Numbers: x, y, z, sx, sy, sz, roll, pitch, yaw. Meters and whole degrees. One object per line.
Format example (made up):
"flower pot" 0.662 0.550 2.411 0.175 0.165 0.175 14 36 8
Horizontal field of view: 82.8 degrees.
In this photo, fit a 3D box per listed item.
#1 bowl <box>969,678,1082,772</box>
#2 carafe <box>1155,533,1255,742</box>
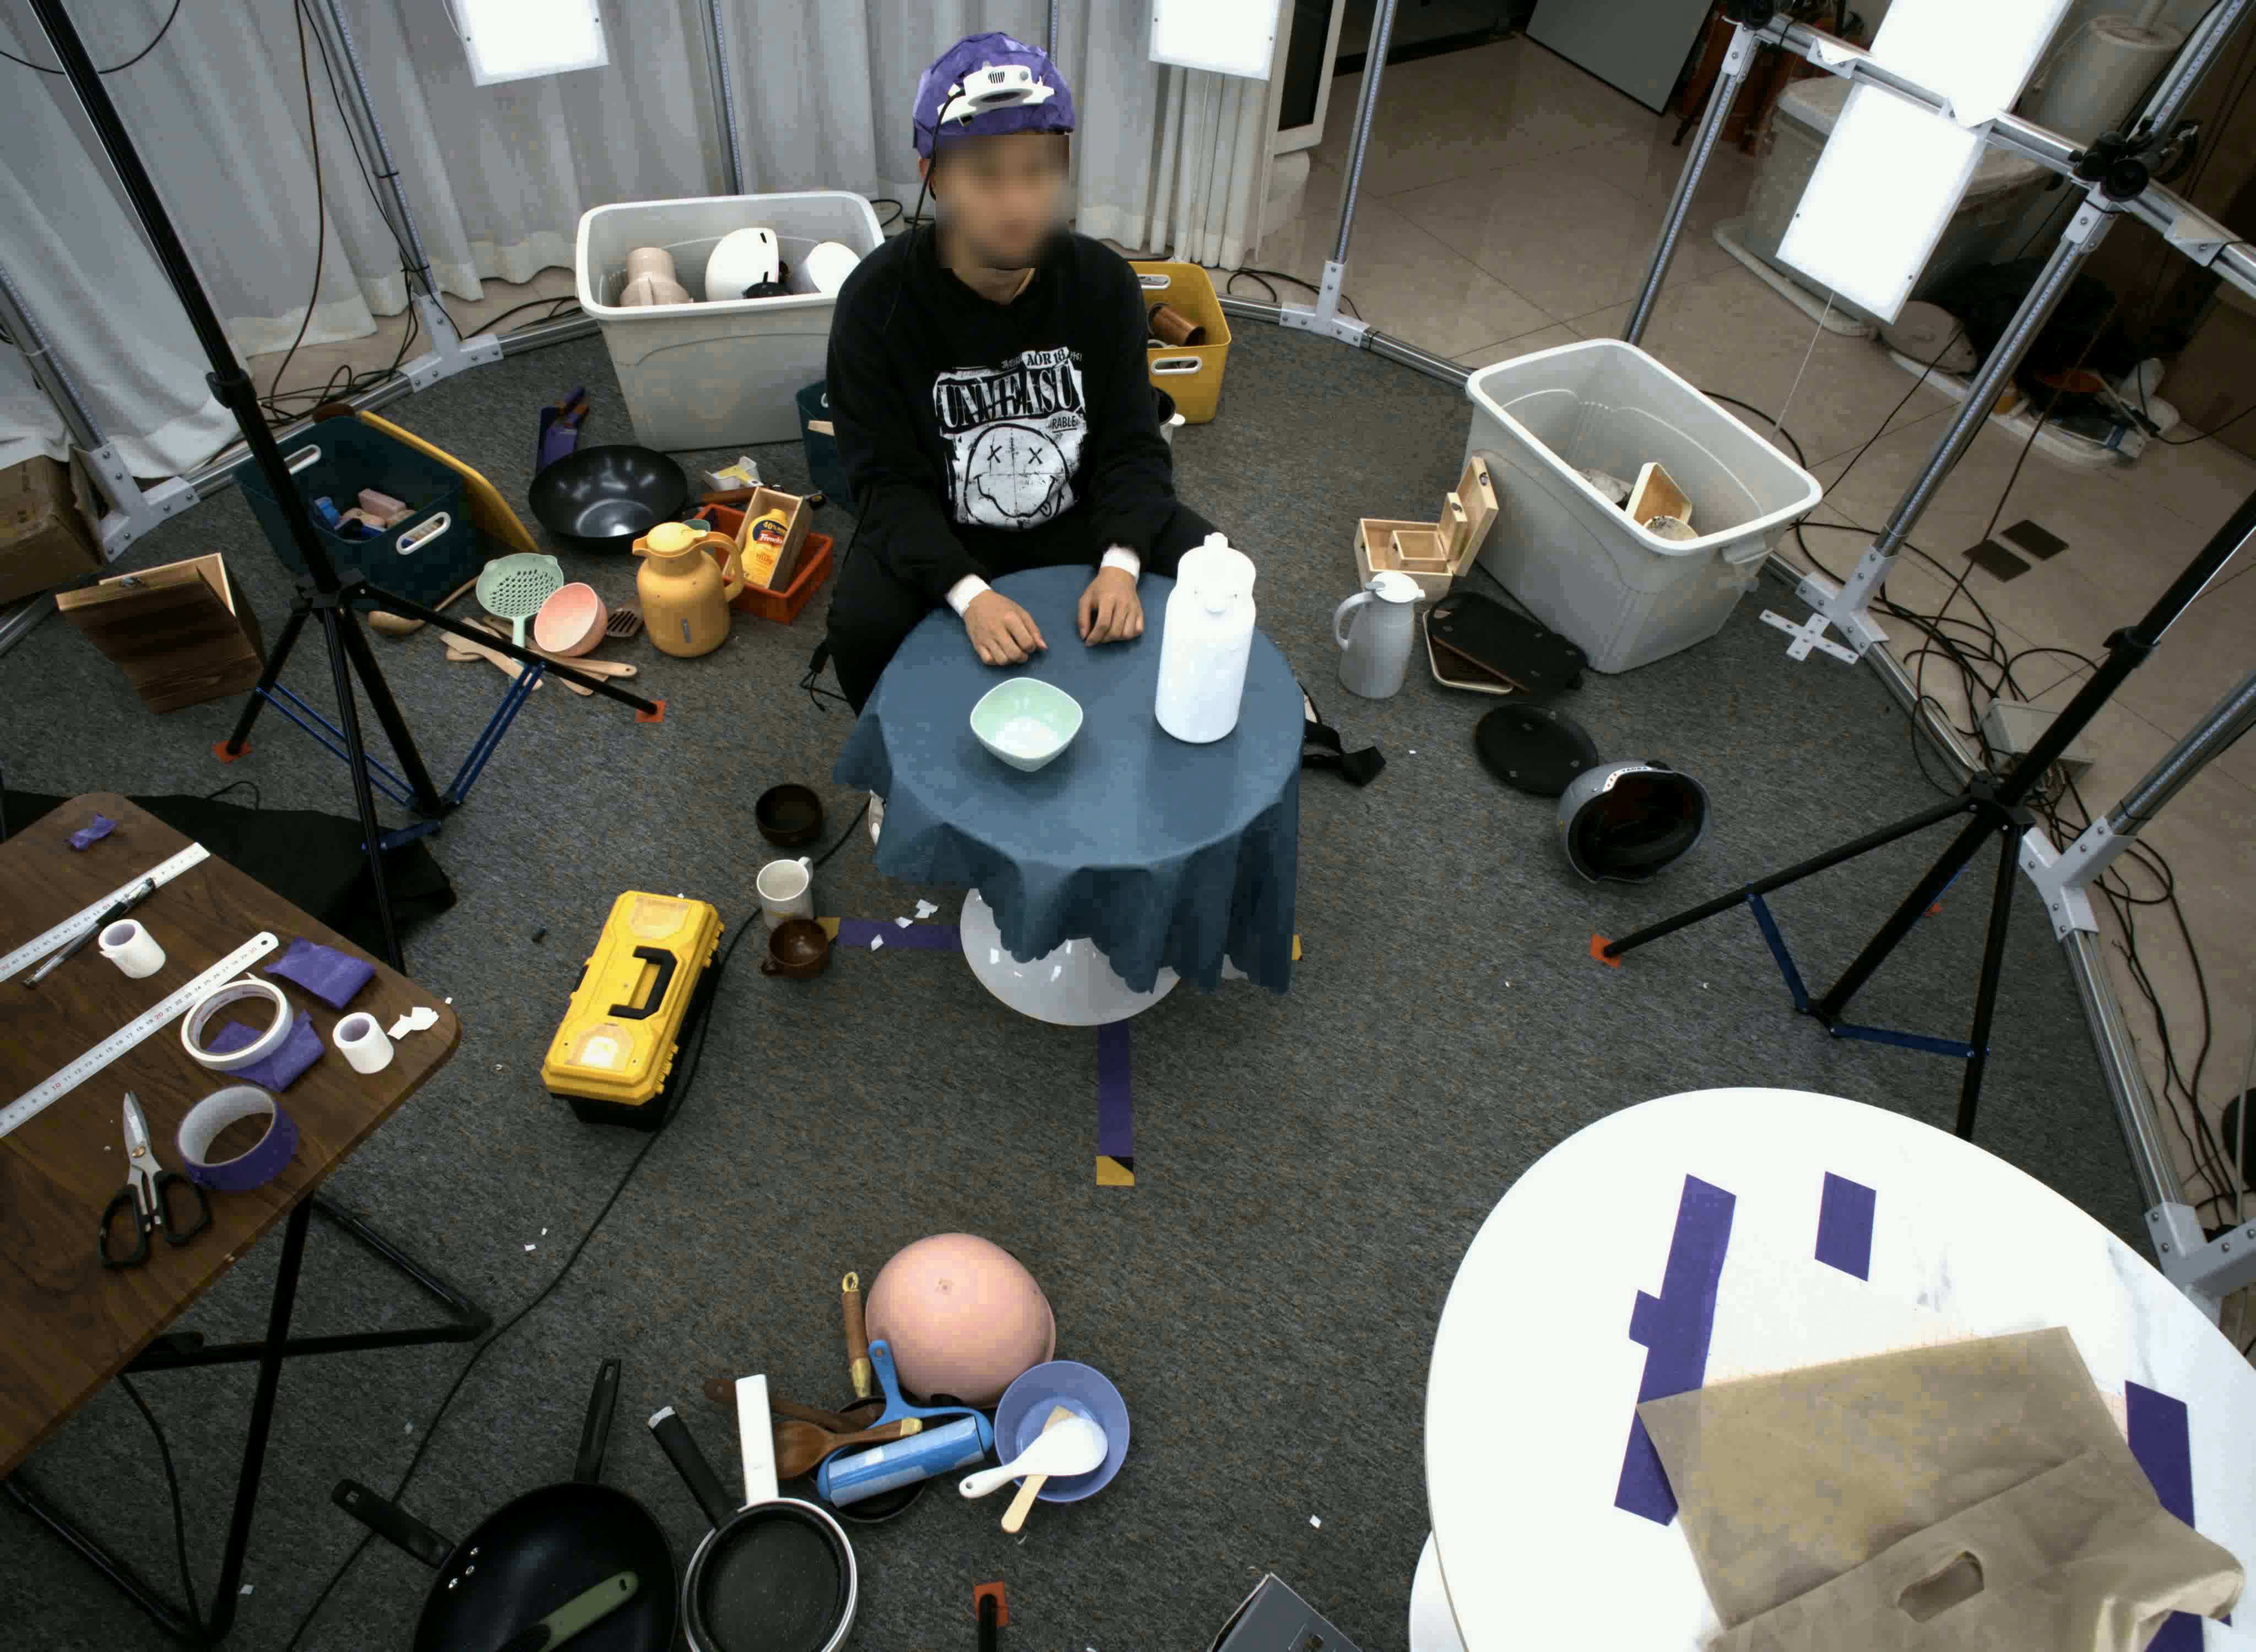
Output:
"bowl" -0.138 -0.128 1.737 0.151 0.057 0.155 2 50 -3
"carafe" 0.102 -0.254 1.723 0.124 0.262 0.177 3 49 1
